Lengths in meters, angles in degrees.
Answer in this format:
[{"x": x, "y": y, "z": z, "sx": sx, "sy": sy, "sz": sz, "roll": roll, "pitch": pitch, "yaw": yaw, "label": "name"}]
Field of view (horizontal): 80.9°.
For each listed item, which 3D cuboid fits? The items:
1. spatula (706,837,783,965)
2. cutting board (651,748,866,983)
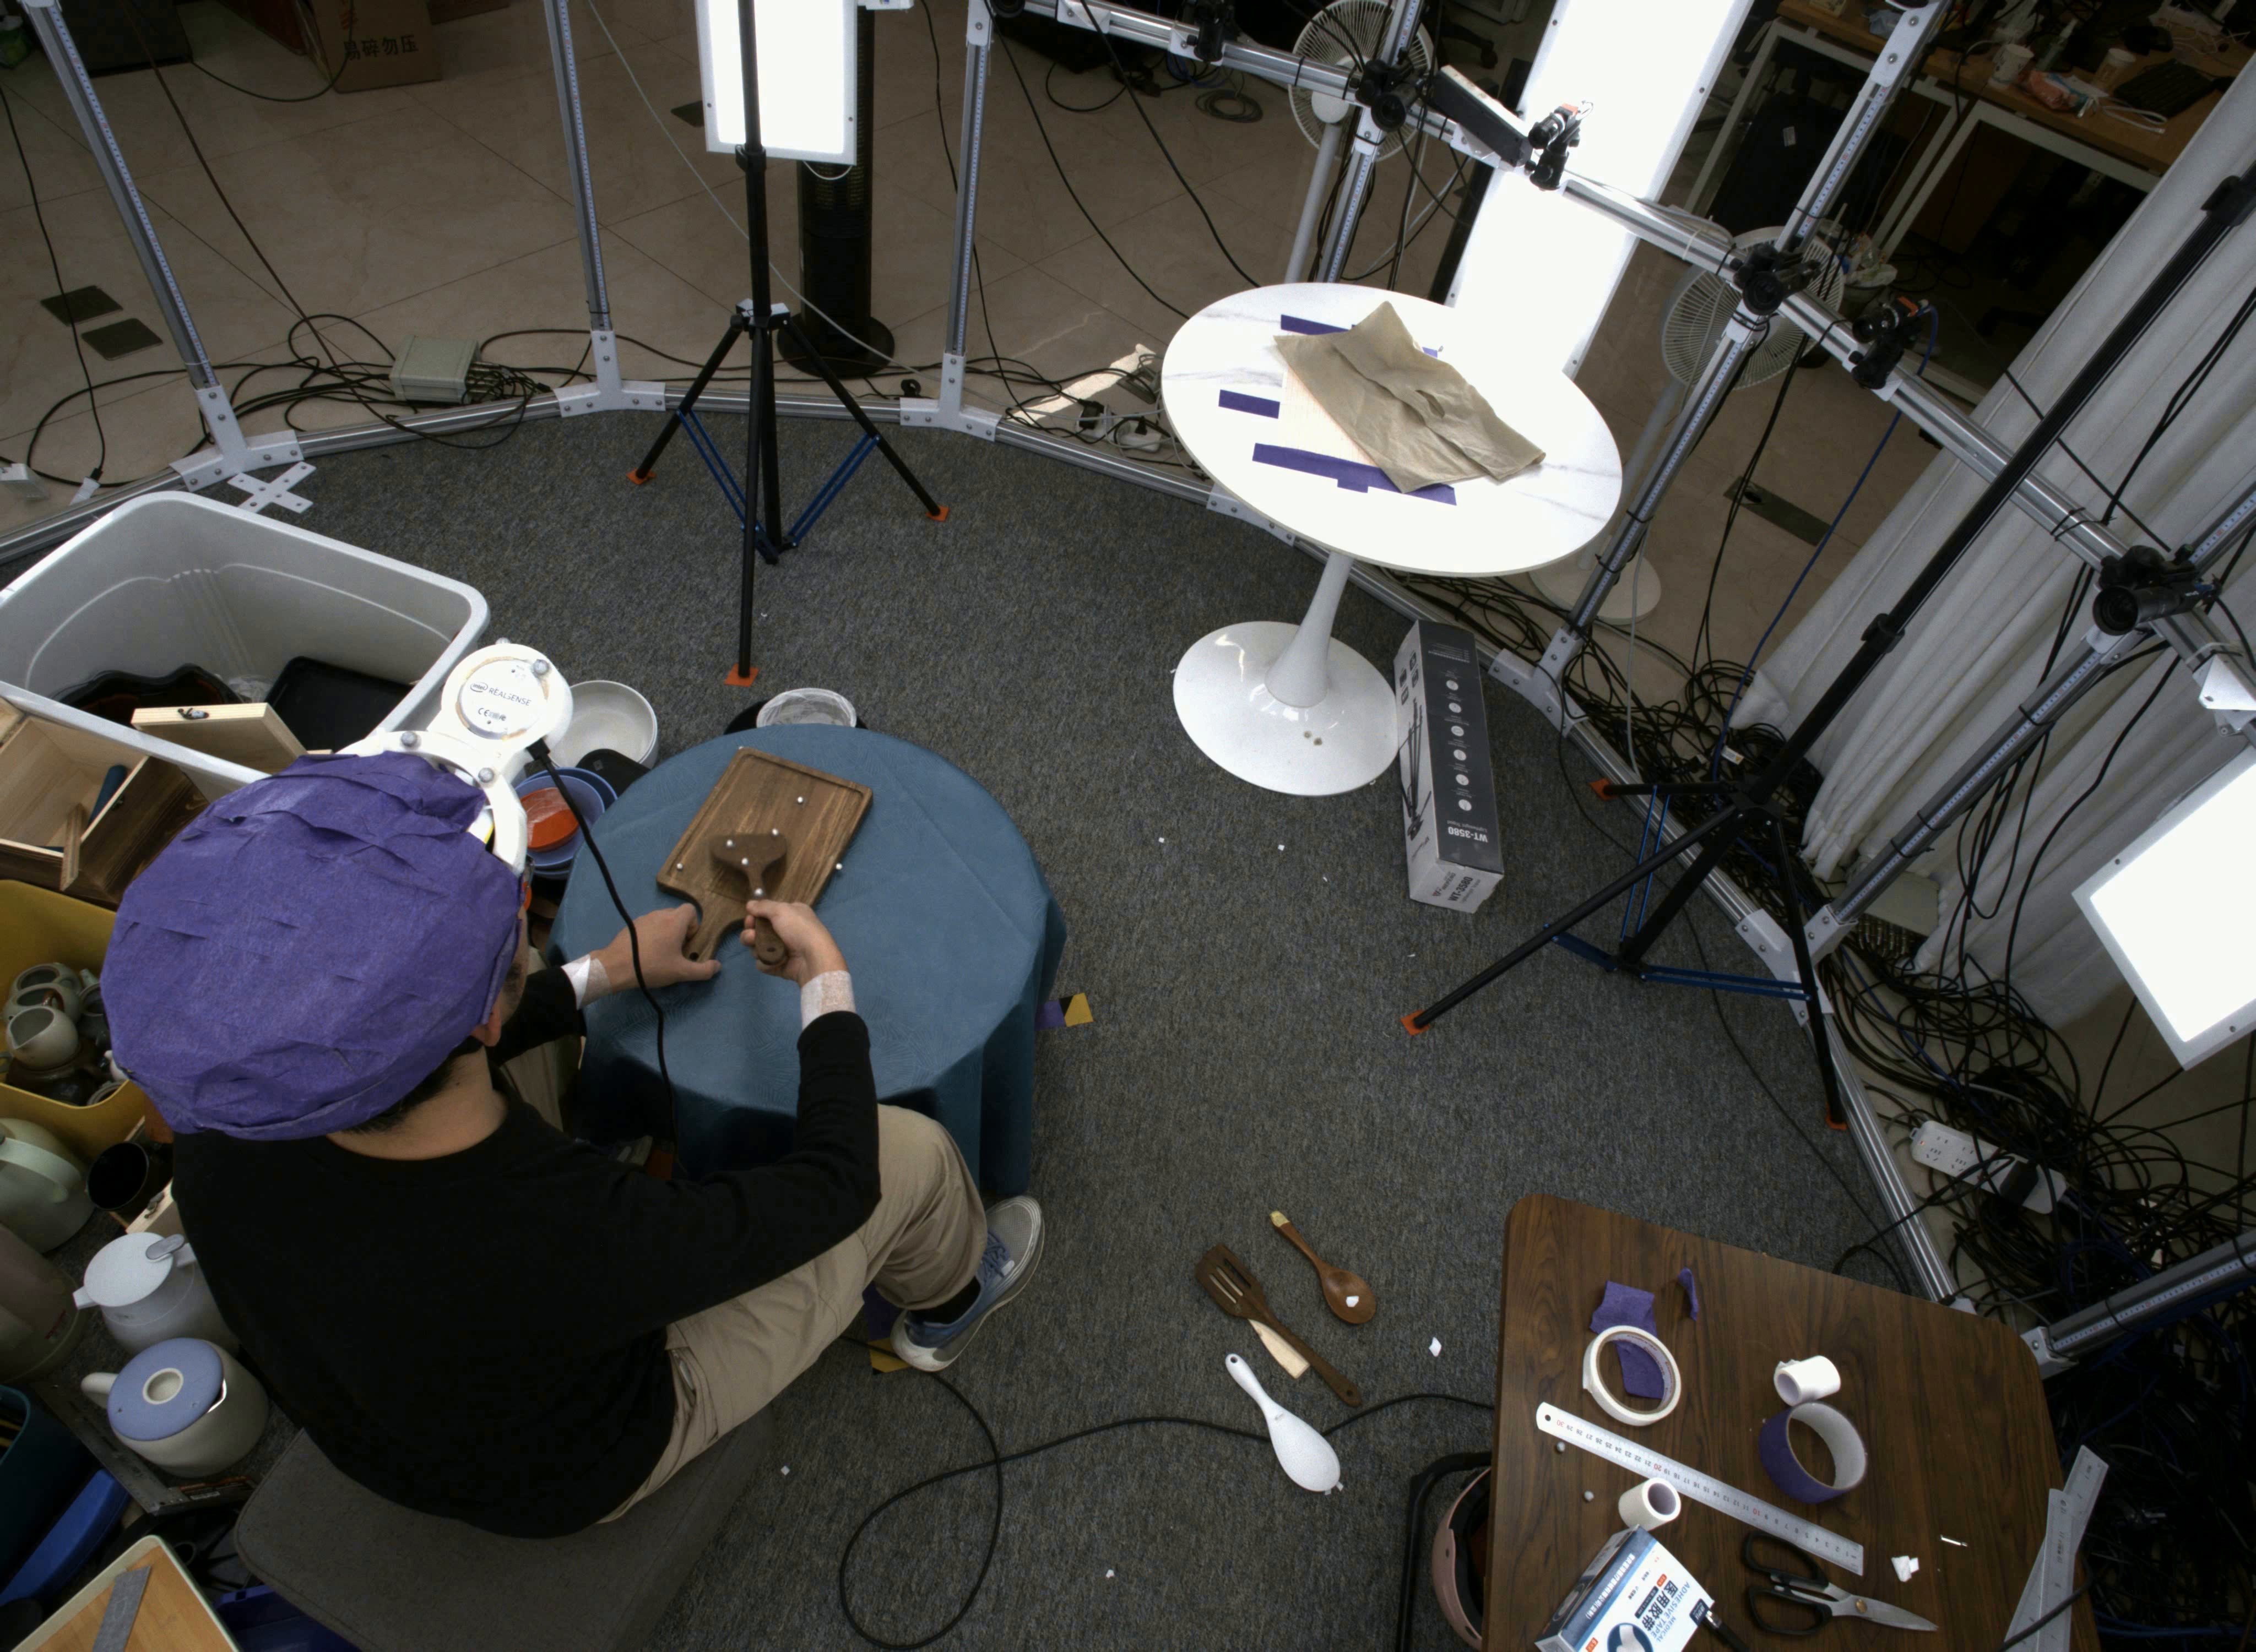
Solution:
[{"x": -0.434, "y": 0.077, "z": 1.503, "sx": 0.097, "sy": 0.016, "sz": 0.373, "roll": -3, "pitch": 19, "yaw": -20, "label": "spatula"}, {"x": -0.487, "y": 0.050, "z": 1.649, "sx": 0.199, "sy": 0.023, "sz": 0.348, "roll": 18, "pitch": 51, "yaw": 0, "label": "cutting board"}]
